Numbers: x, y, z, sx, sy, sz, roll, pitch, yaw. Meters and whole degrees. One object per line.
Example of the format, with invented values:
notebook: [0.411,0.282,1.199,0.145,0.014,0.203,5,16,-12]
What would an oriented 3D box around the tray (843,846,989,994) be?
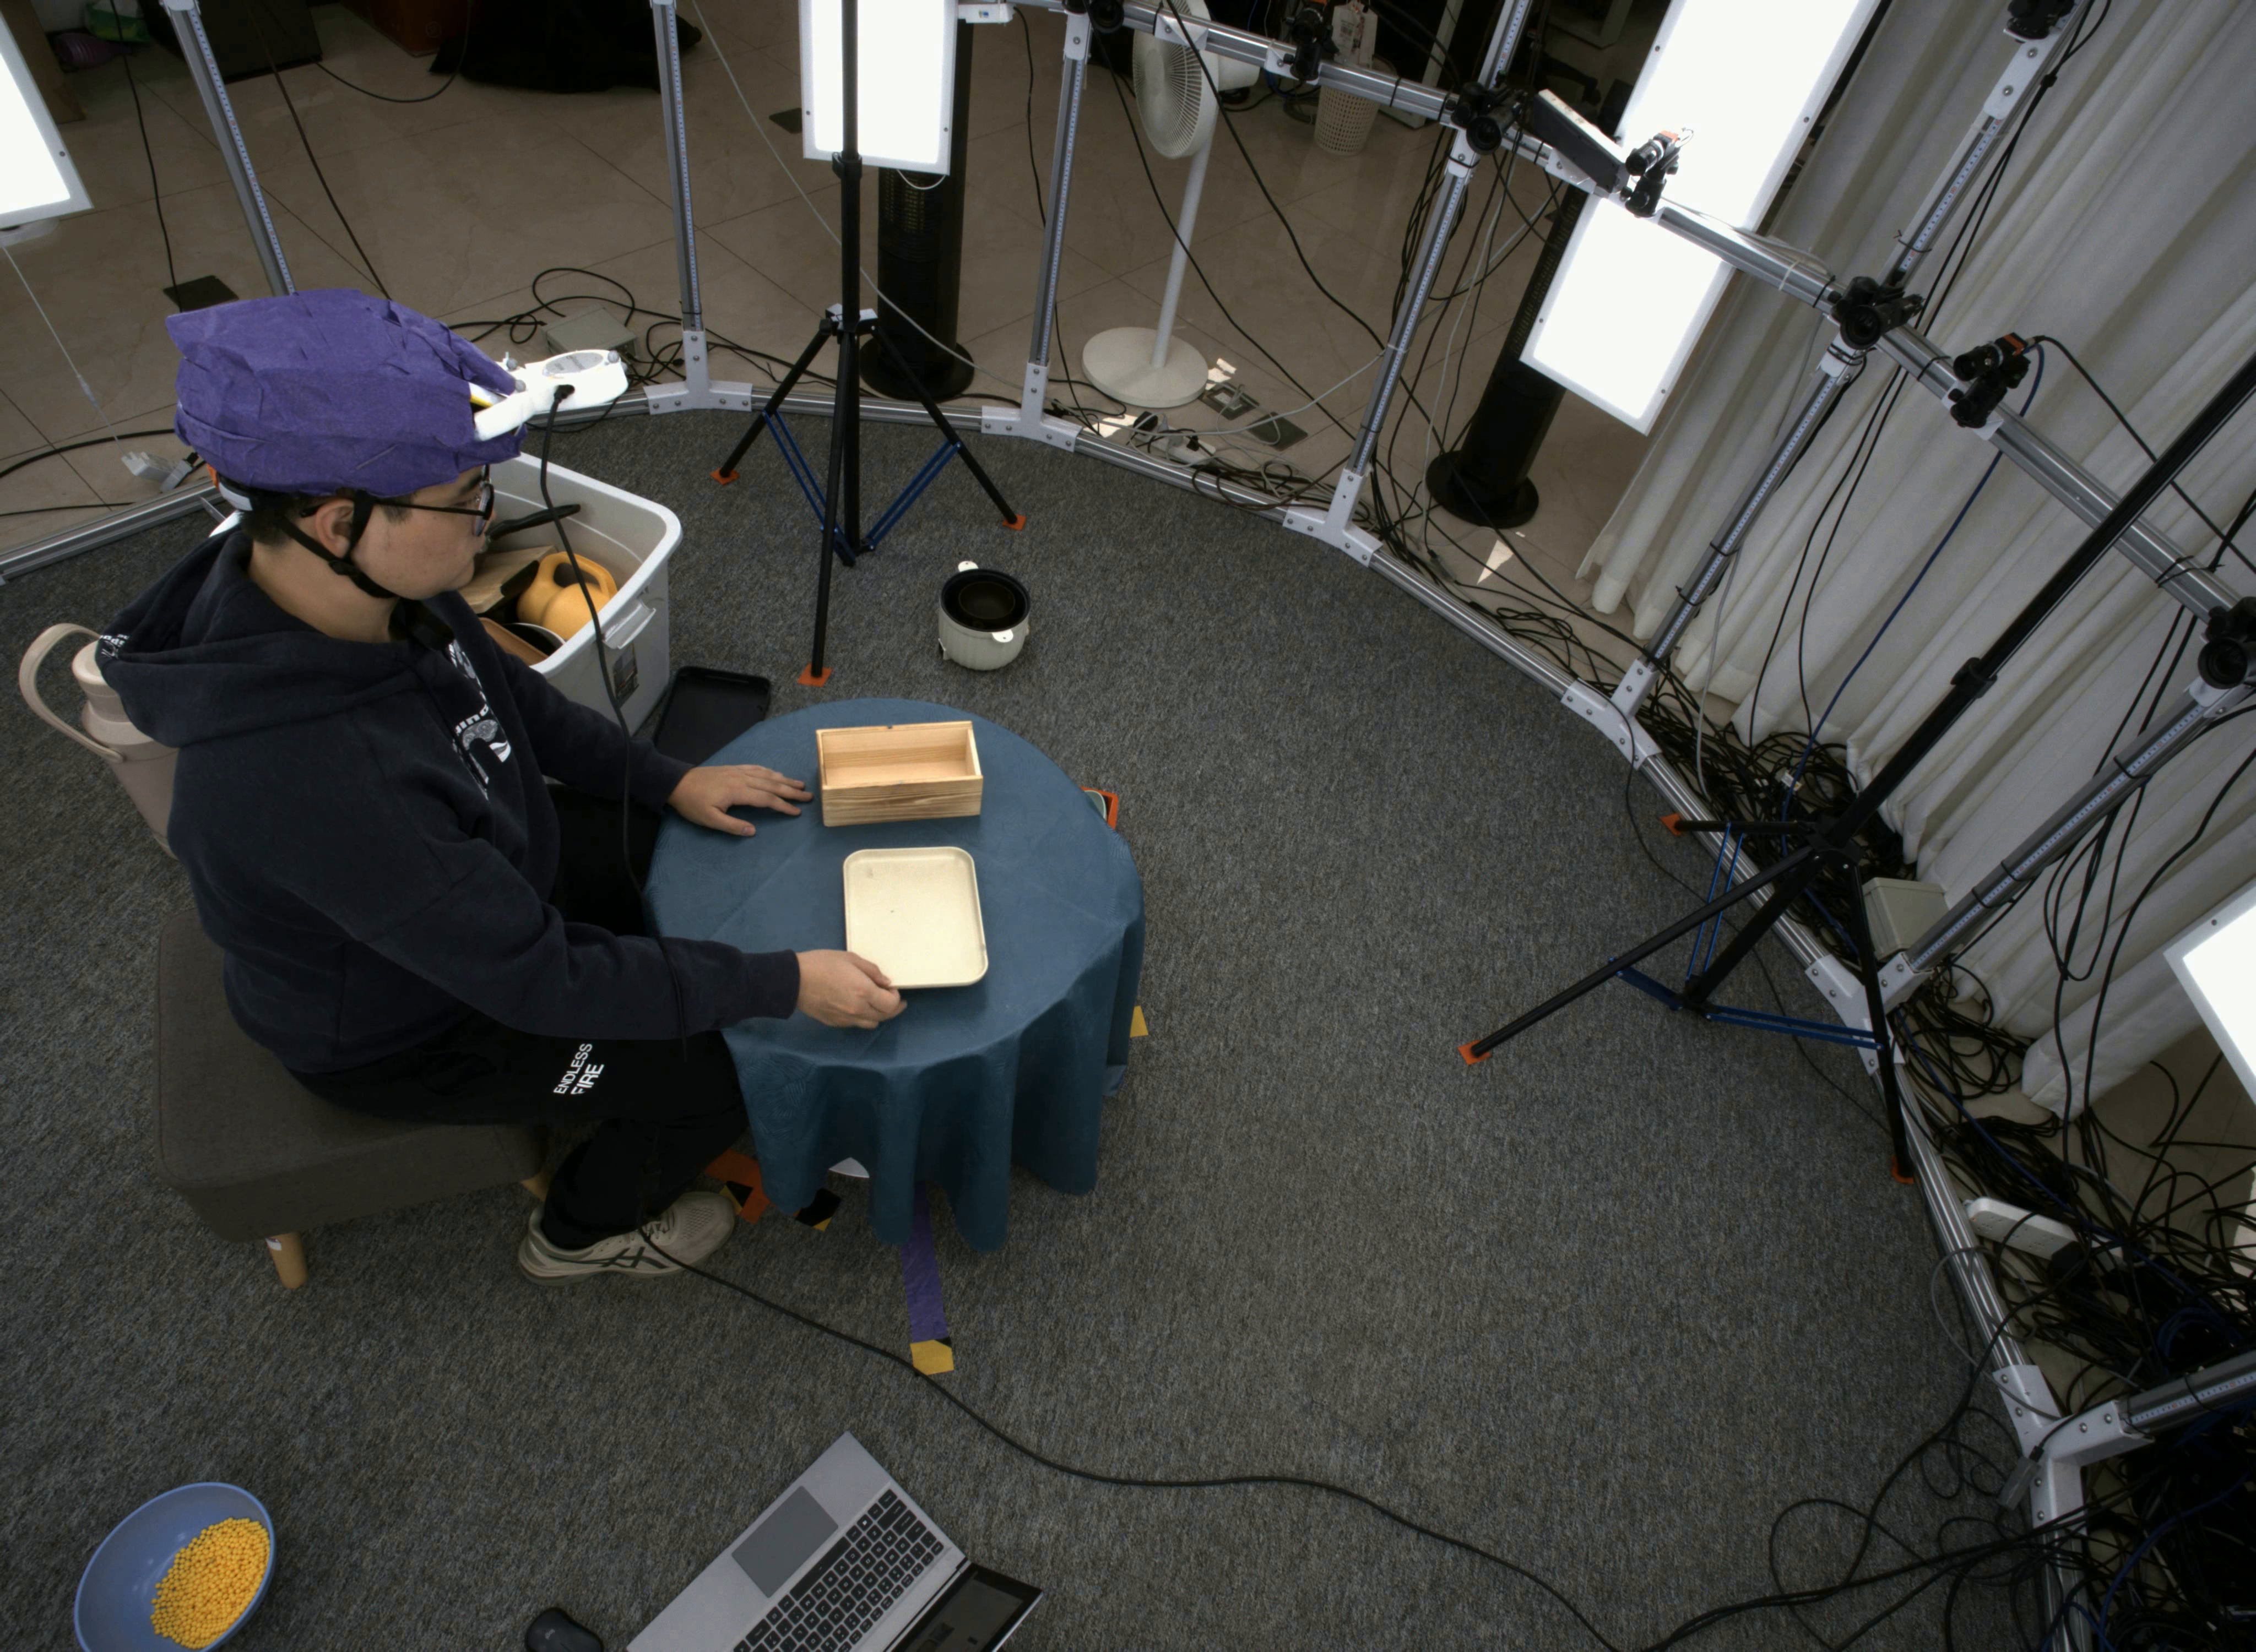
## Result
tray: [-0.270,0.114,1.642,0.171,0.018,0.233,-1,45,-14]

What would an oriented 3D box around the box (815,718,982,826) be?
box: [-0.310,-0.074,1.753,0.212,0.082,0.105,-5,54,-17]
